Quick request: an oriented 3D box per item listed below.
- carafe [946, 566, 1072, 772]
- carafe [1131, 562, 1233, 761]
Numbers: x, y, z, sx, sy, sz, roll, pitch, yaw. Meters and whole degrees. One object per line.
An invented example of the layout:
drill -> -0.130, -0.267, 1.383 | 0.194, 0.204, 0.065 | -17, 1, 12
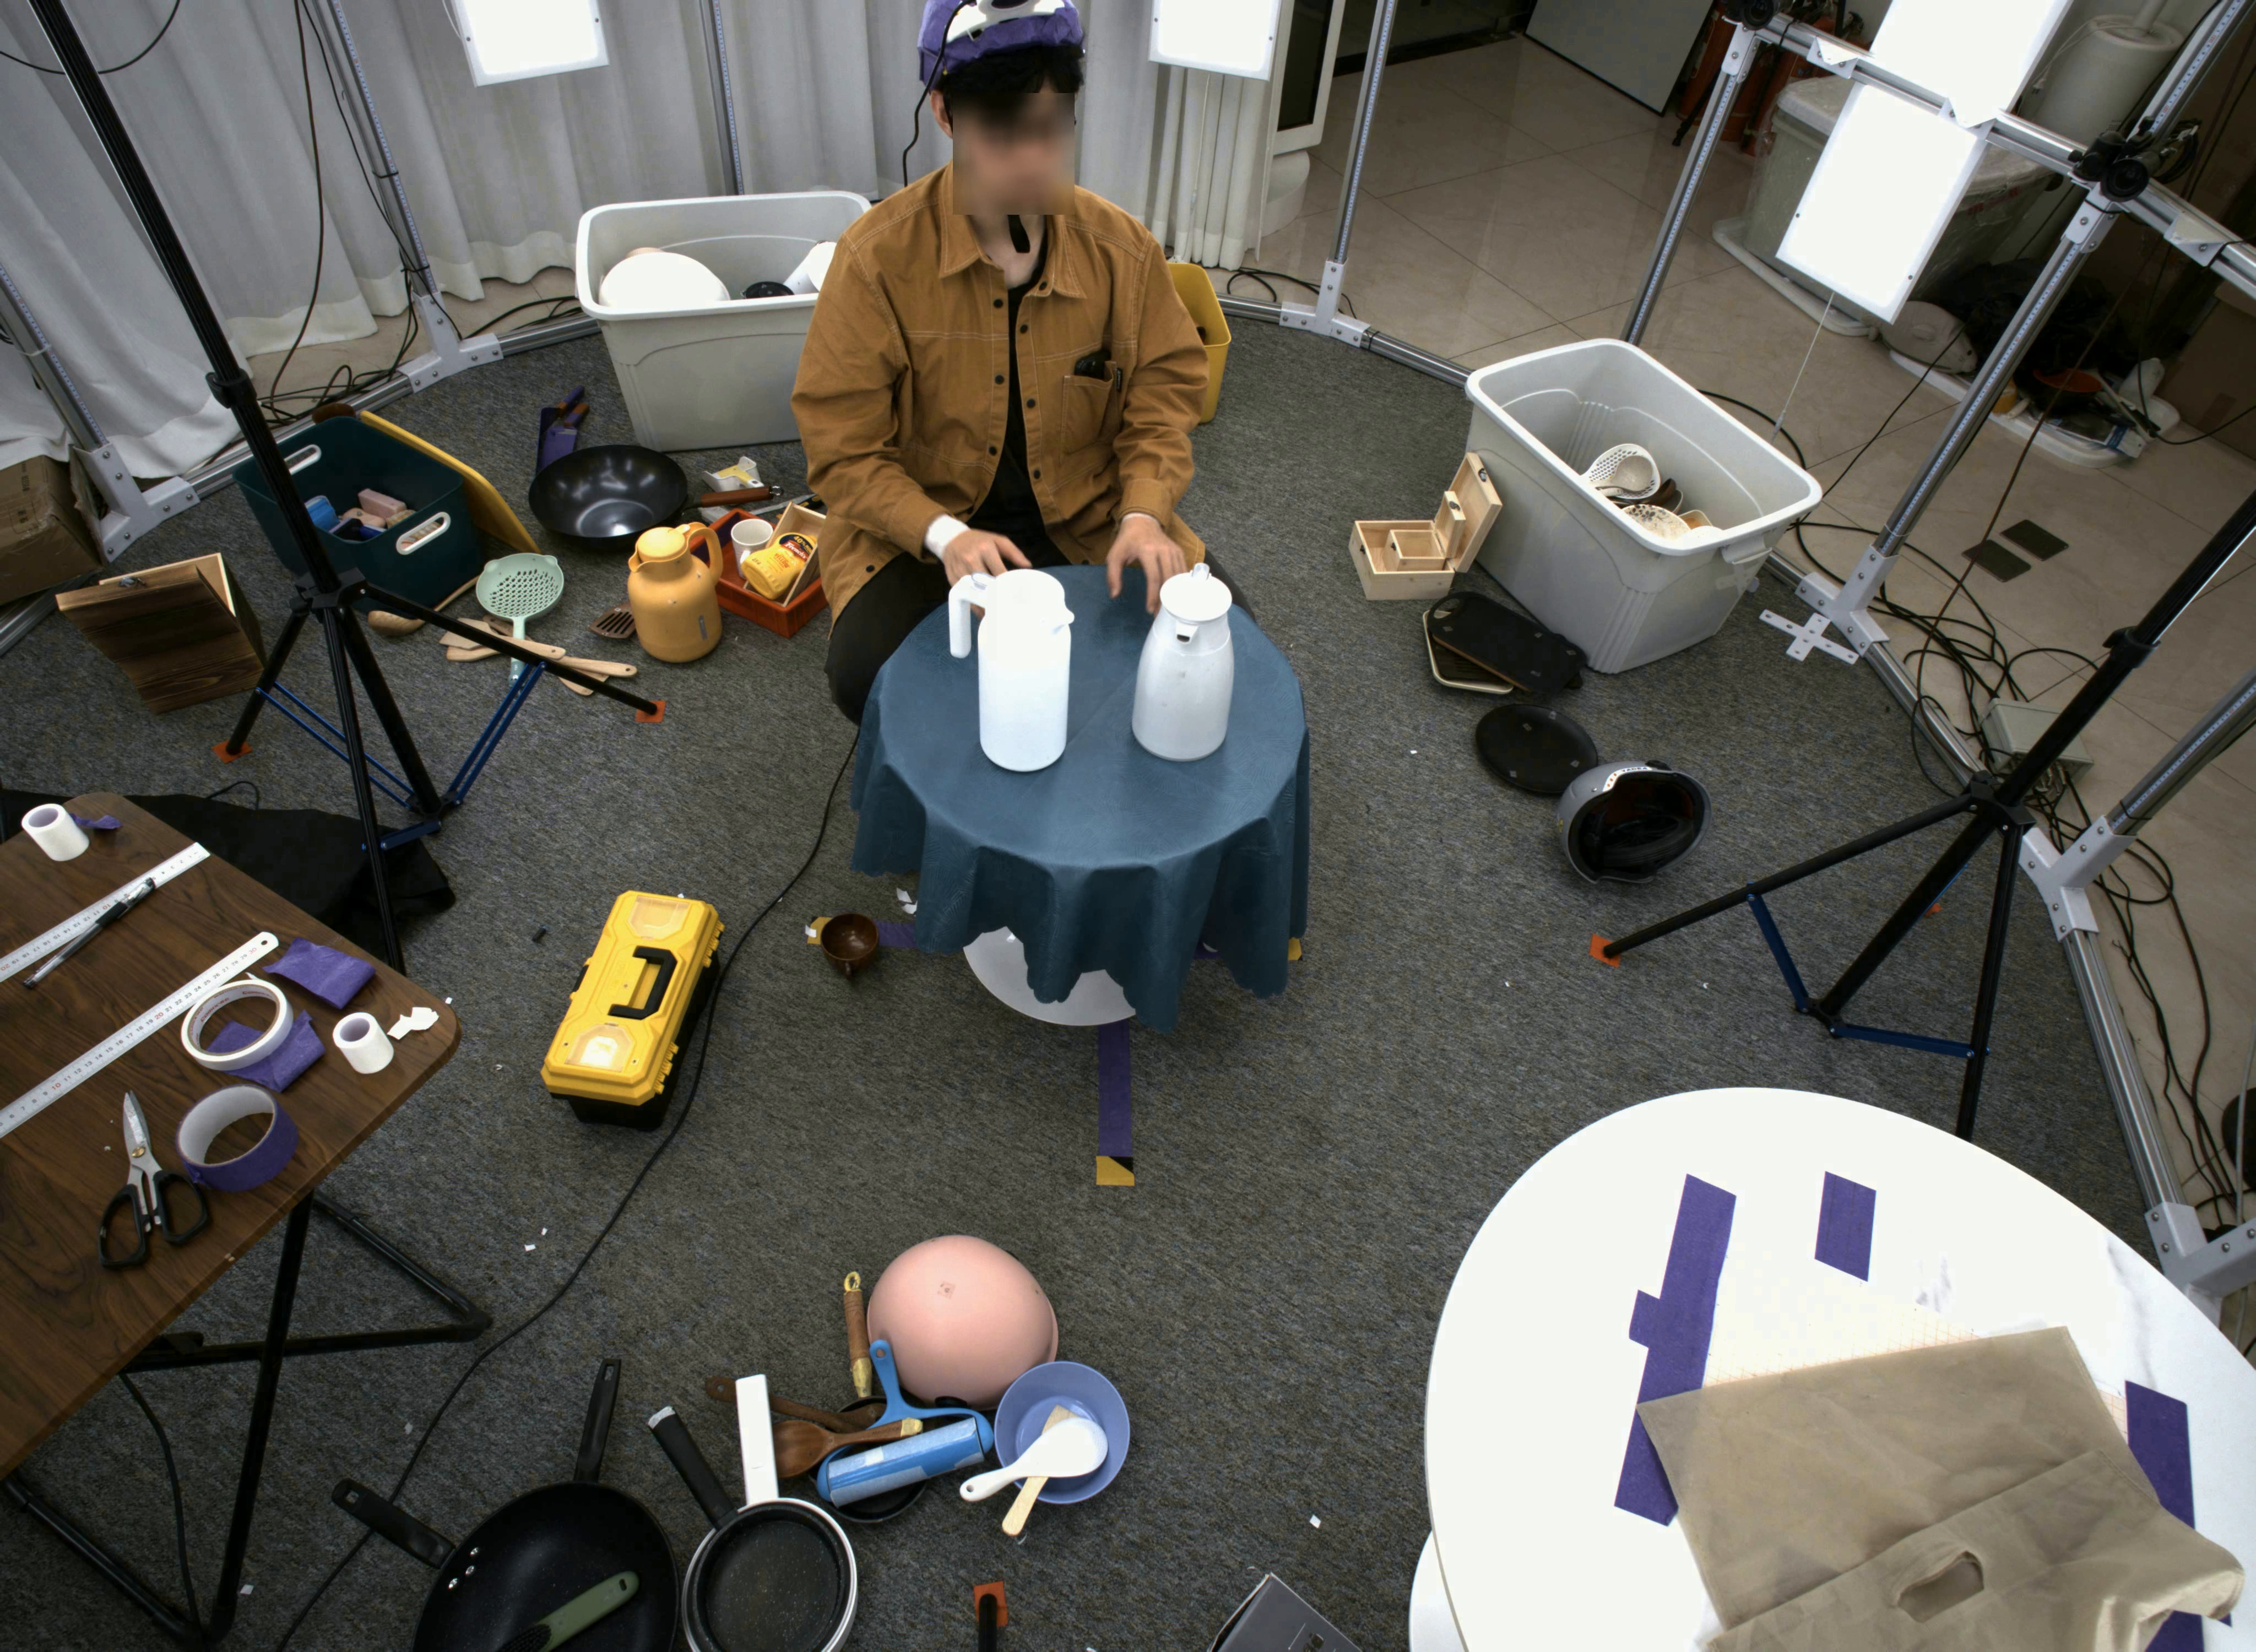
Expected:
carafe -> -0.152, -0.204, 1.665 | 0.174, 0.262, 0.126 | 23, 54, 16
carafe -> 0.081, -0.231, 1.715 | 0.133, 0.242, 0.171 | 13, 49, 7
